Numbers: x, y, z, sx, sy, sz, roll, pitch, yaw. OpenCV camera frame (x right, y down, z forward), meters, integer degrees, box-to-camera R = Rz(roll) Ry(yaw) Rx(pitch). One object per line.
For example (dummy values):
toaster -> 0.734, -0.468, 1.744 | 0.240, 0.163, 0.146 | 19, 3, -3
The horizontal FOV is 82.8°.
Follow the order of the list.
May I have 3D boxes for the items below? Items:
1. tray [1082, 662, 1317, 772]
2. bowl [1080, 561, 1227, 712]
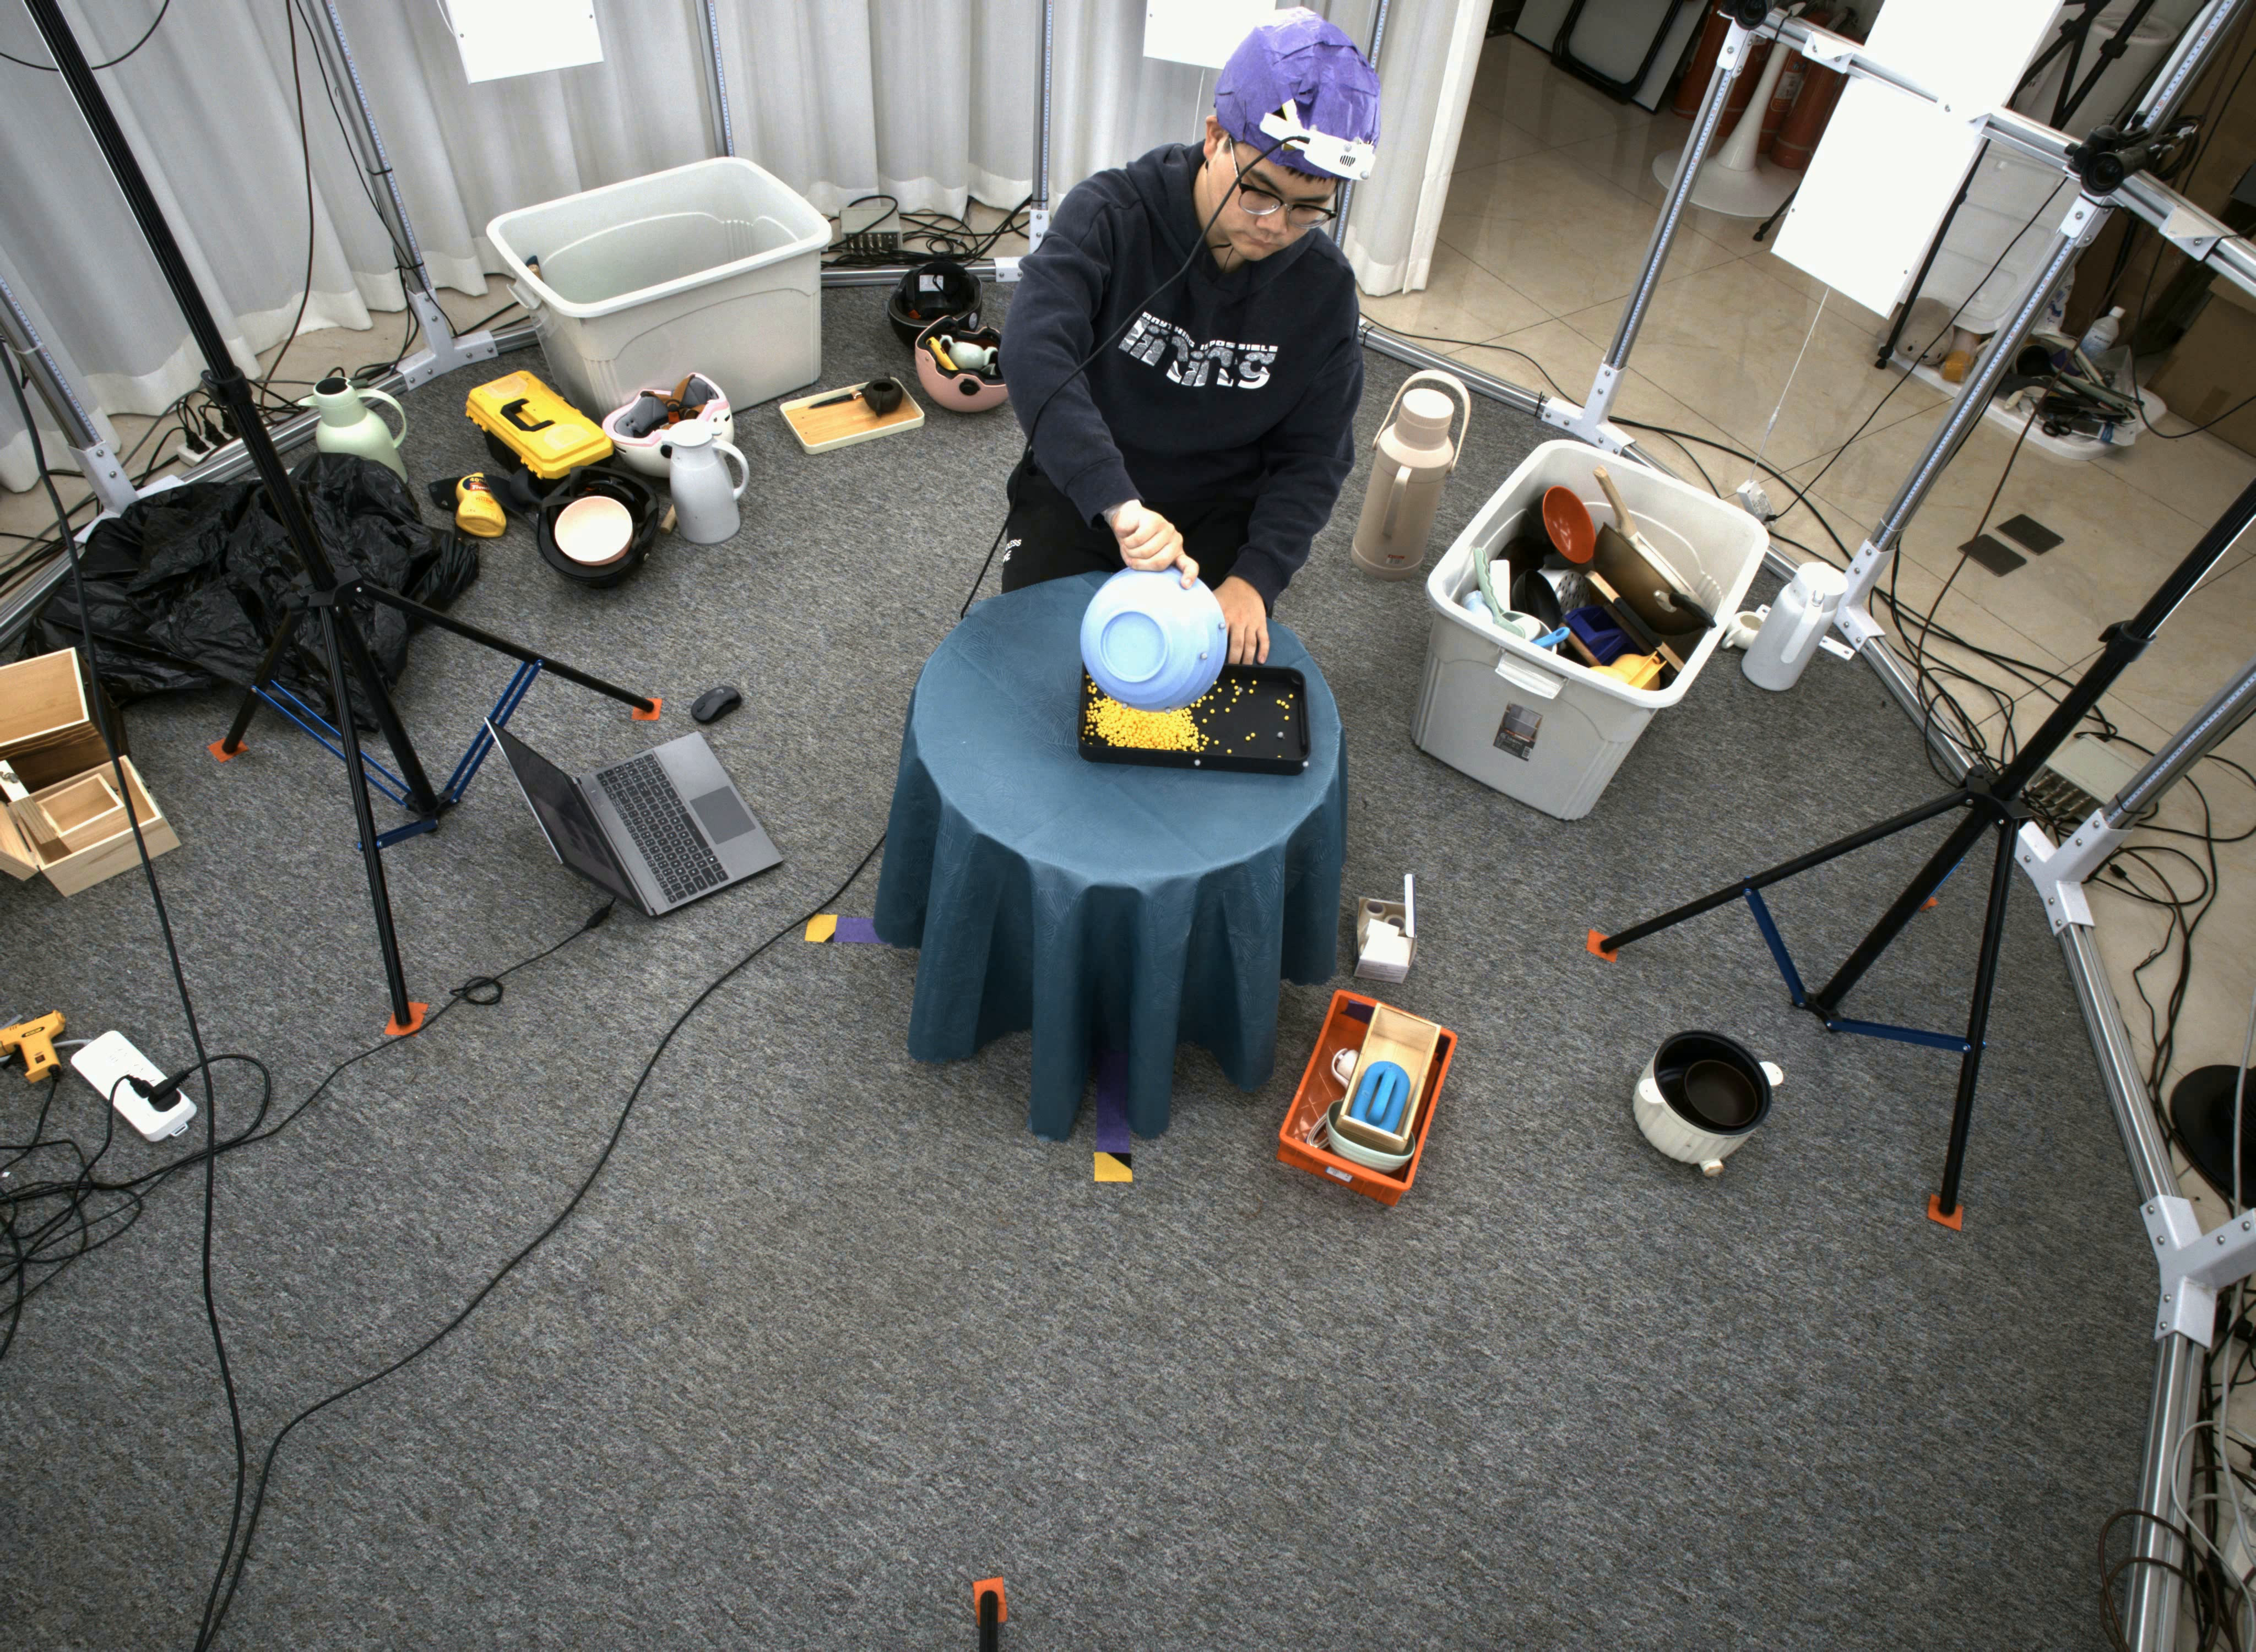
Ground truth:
tray -> 0.096, -0.156, 1.787 | 0.318, 0.036, 0.189 | 2, 48, -1
bowl -> 0.020, -0.235, 1.636 | 0.198, 0.194, 0.096 | 23, 19, 15
